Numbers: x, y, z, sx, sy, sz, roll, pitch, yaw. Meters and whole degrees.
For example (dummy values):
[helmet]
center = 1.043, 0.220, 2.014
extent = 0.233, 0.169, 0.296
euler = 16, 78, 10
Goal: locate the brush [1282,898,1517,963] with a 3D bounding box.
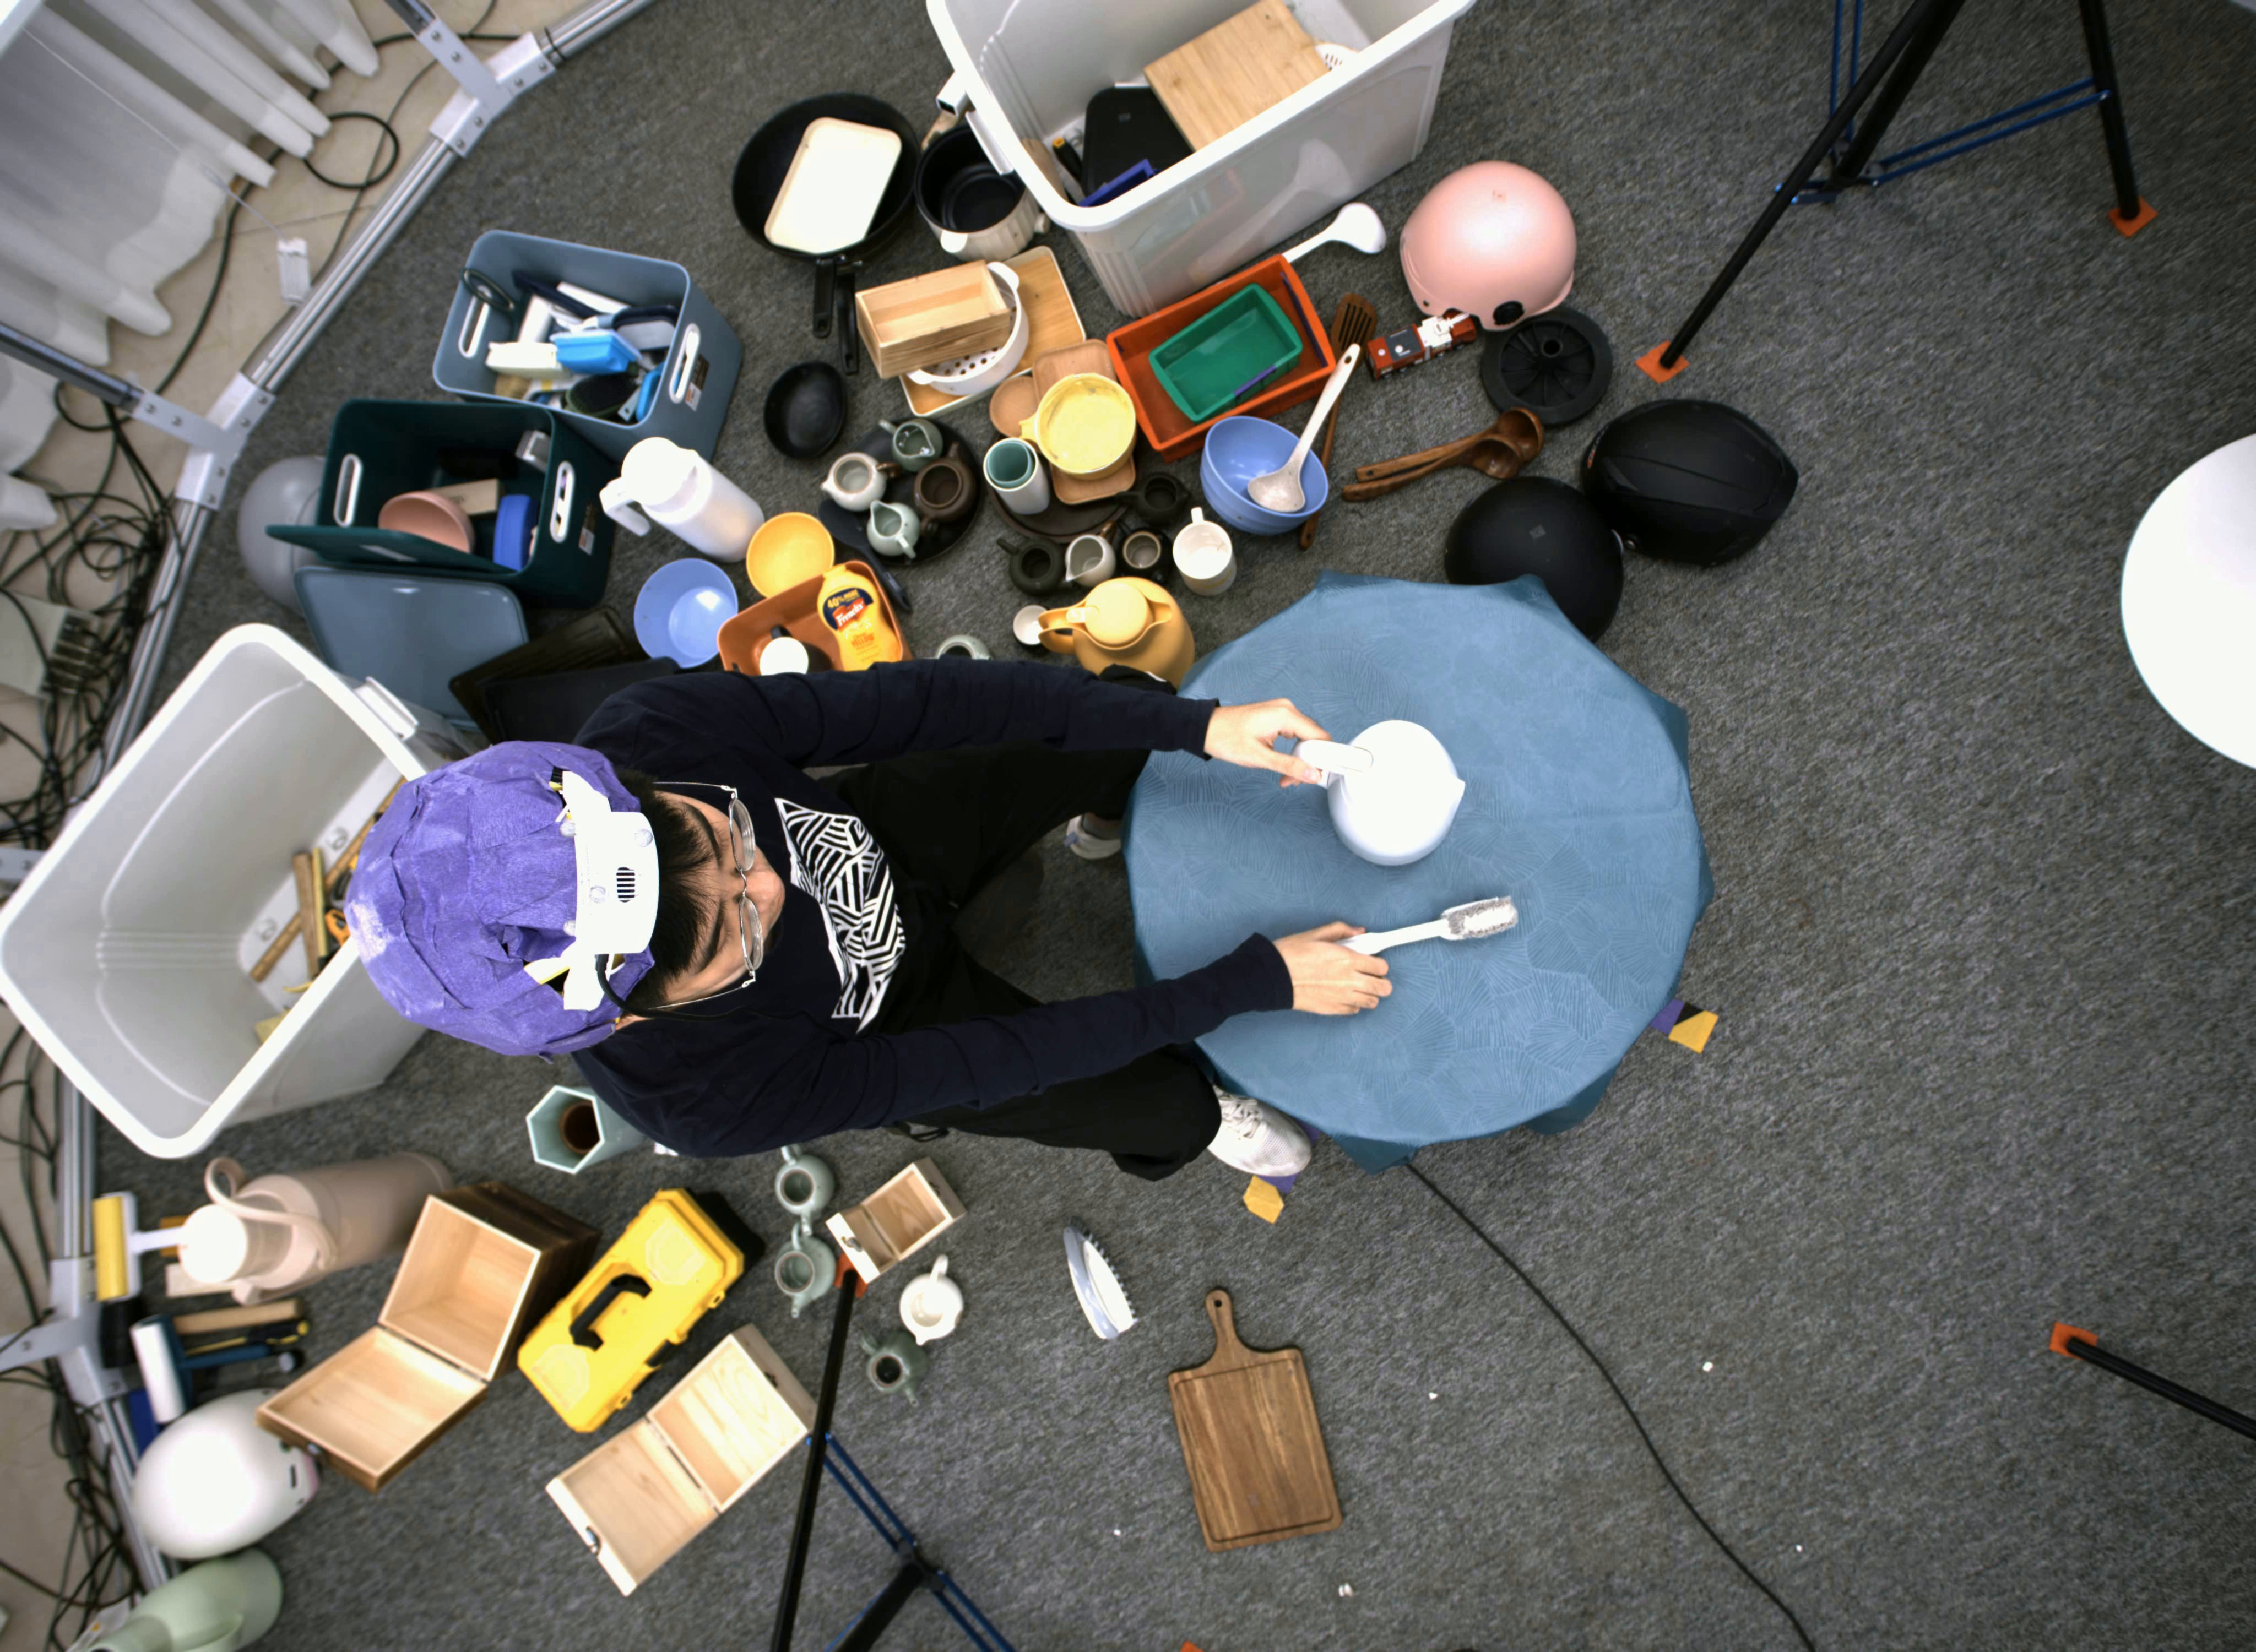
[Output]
[brush]
center = 0.278, 0.111, 1.430
extent = 0.245, 0.050, 0.034
euler = -12, 92, 9

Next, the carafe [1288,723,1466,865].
[carafe]
center = 0.240, -0.041, 1.344
extent = 0.168, 0.249, 0.132
euler = 15, 88, 11
